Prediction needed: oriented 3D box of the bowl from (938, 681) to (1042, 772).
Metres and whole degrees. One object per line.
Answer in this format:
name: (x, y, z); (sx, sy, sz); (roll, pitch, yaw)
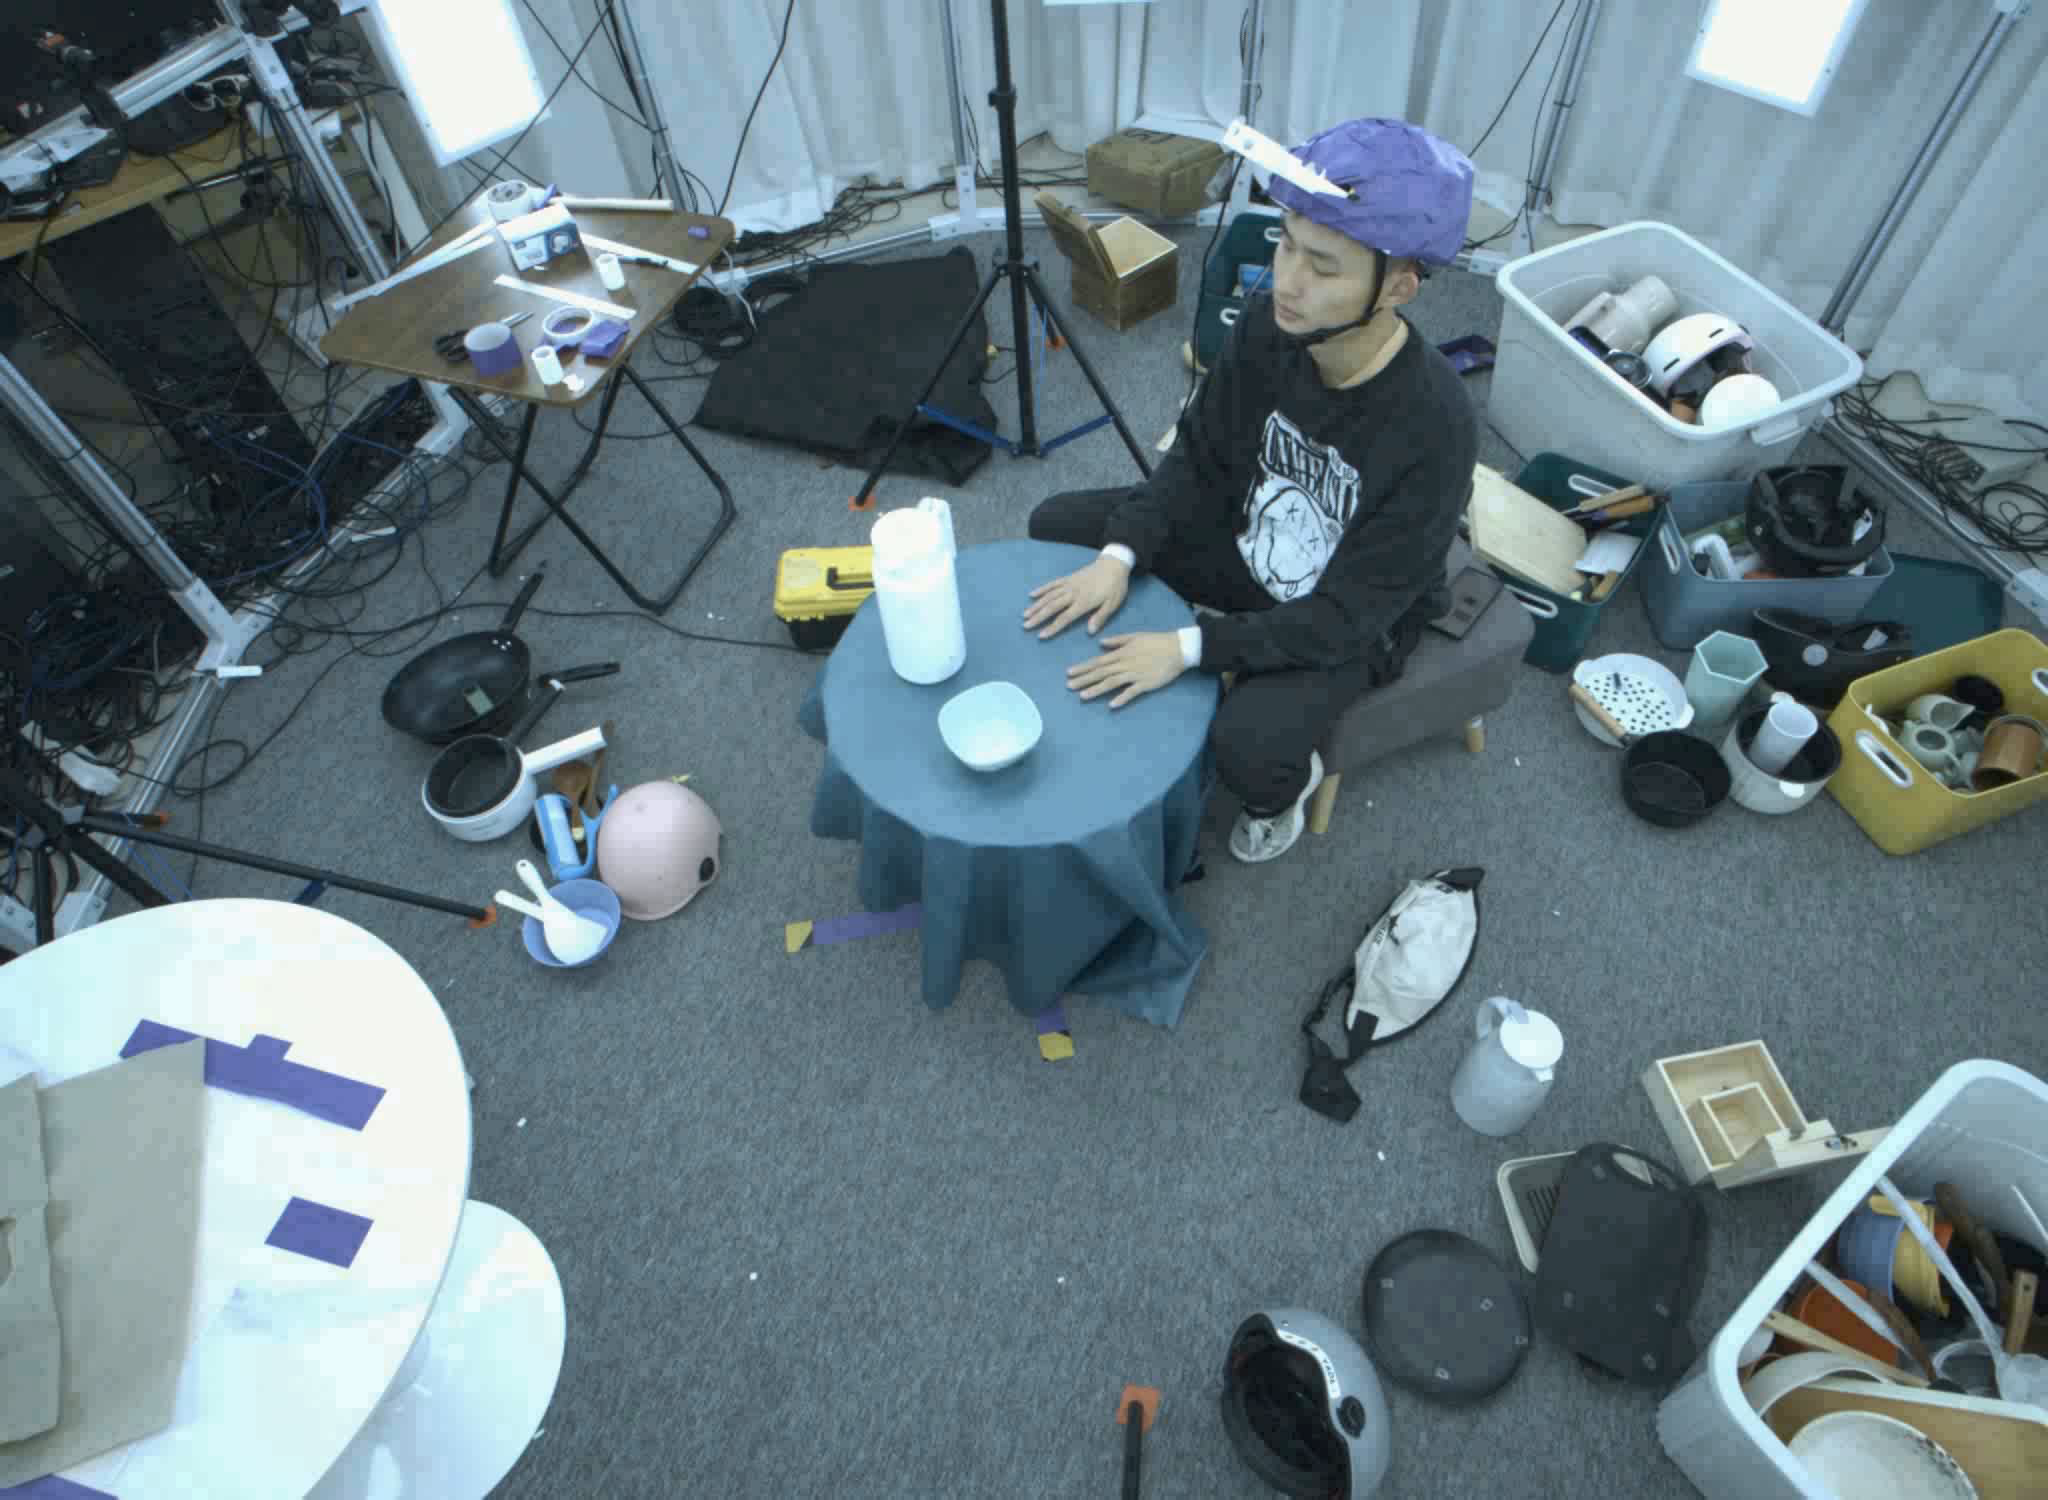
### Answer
bowl: (-0.048, -0.024, 1.769); (0.151, 0.059, 0.150); (0, 55, 2)

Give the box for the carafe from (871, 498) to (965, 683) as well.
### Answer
carafe: (-0.151, -0.236, 1.791); (0.122, 0.272, 0.172); (14, 56, 16)
